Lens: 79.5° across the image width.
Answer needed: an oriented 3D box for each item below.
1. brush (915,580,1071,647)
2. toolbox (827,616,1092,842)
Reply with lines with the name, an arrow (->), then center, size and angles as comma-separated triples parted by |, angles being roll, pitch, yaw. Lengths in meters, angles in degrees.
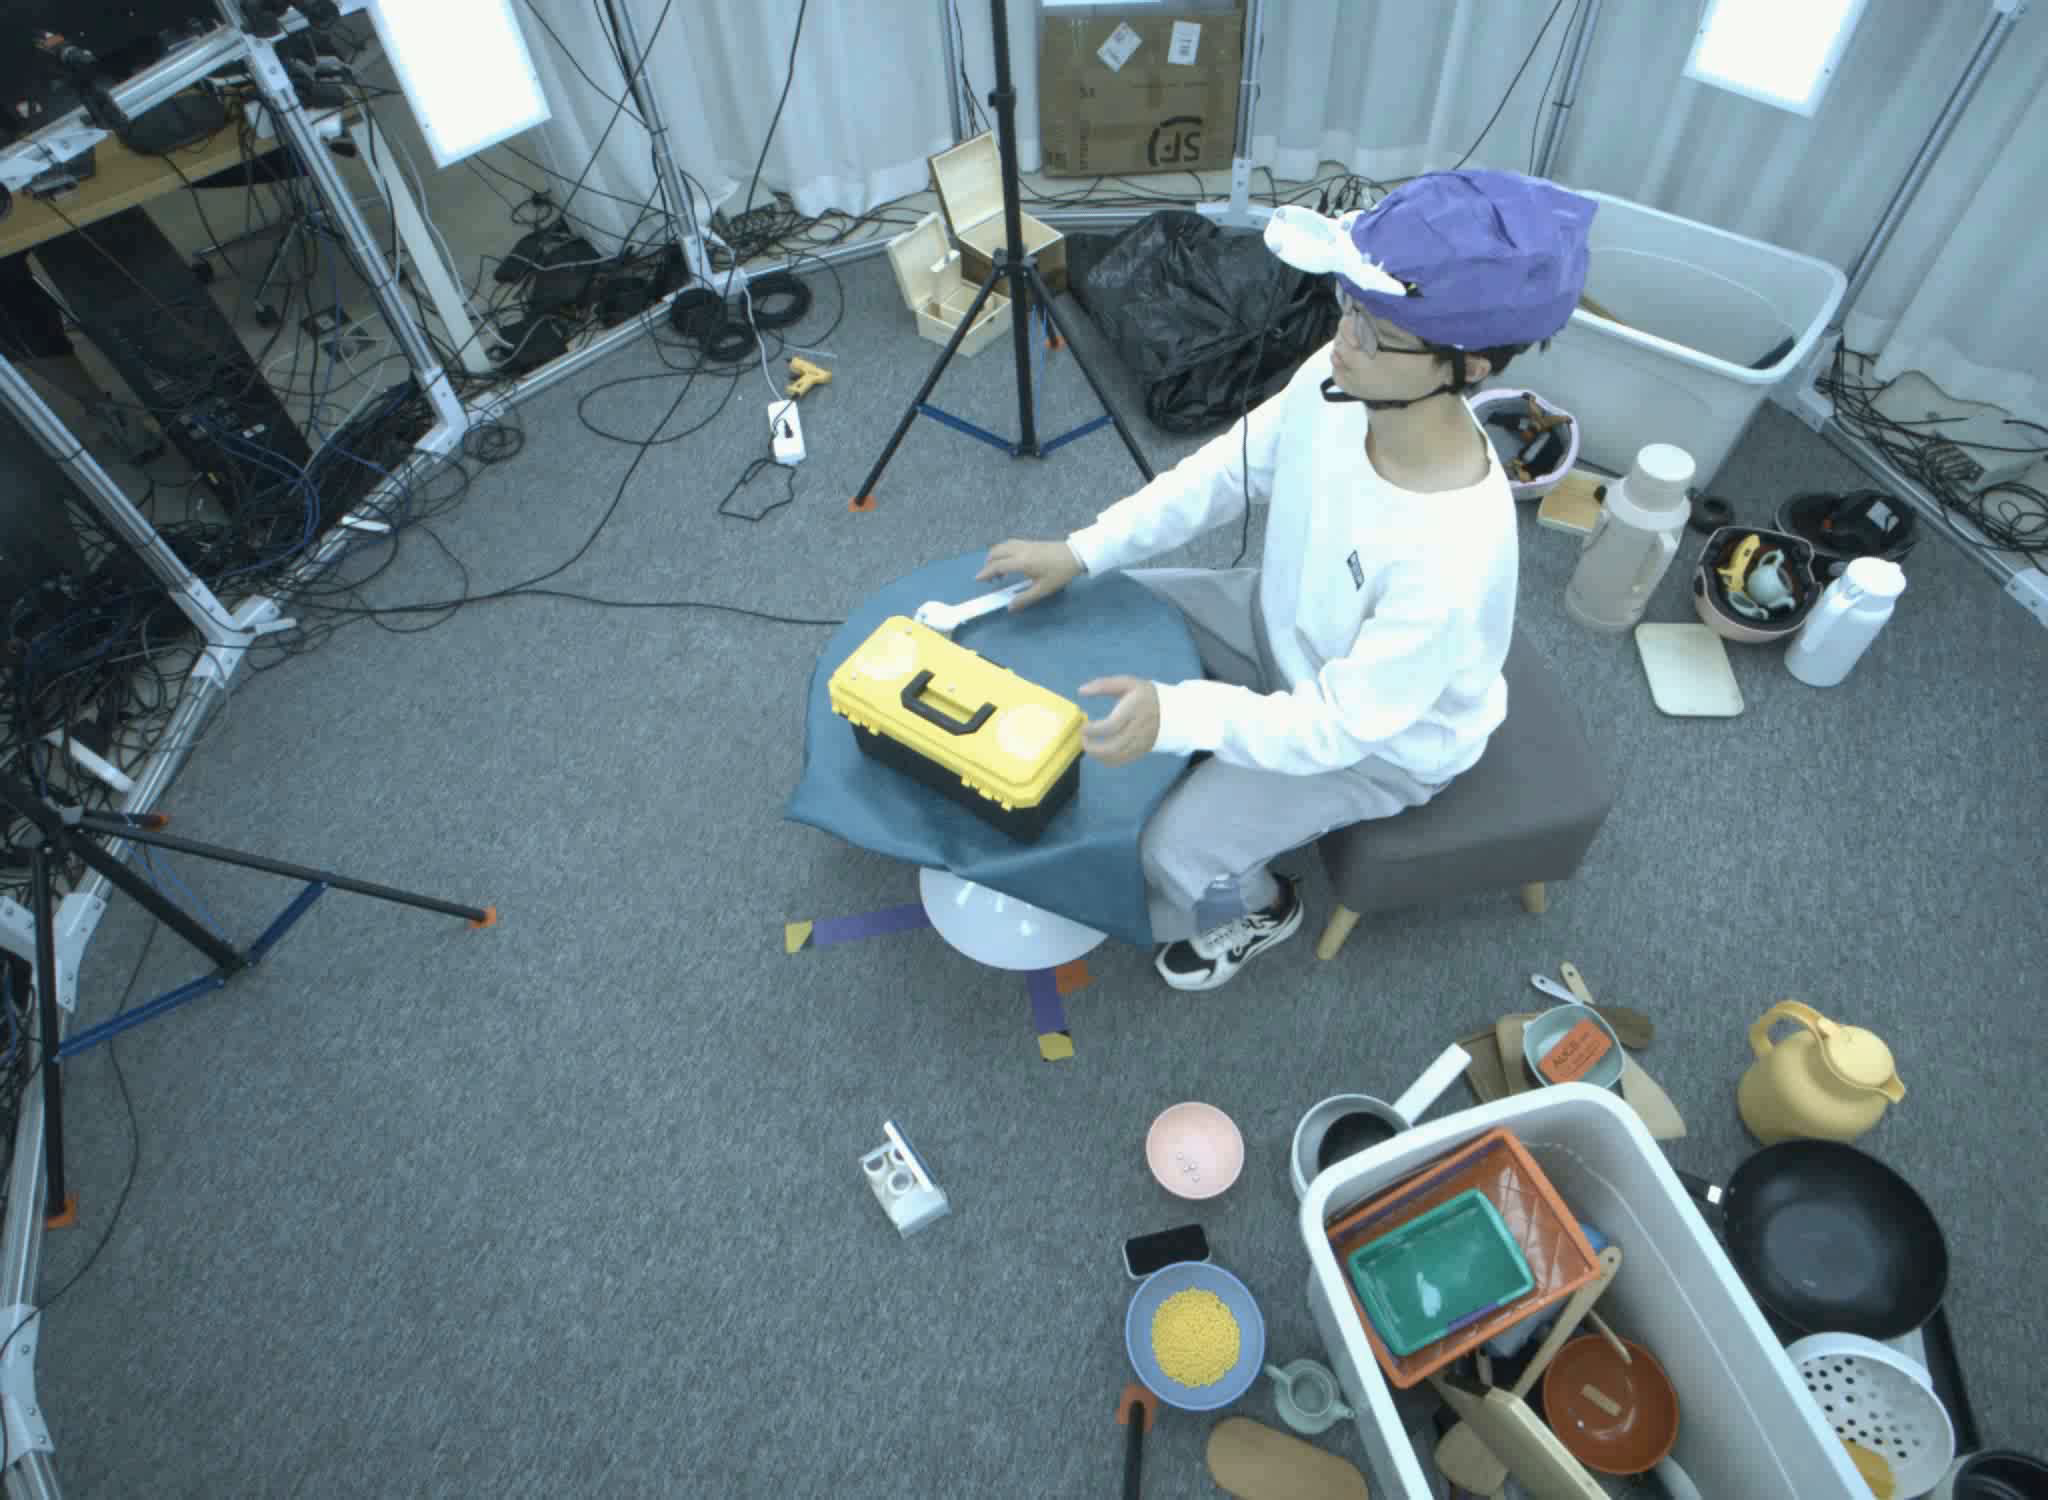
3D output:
brush -> -0.048, -0.221, 1.937 | 0.270, 0.056, 0.068 | -17, 76, -29
toolbox -> -0.087, -0.029, 1.701 | 0.346, 0.174, 0.182 | 29, 61, 20
